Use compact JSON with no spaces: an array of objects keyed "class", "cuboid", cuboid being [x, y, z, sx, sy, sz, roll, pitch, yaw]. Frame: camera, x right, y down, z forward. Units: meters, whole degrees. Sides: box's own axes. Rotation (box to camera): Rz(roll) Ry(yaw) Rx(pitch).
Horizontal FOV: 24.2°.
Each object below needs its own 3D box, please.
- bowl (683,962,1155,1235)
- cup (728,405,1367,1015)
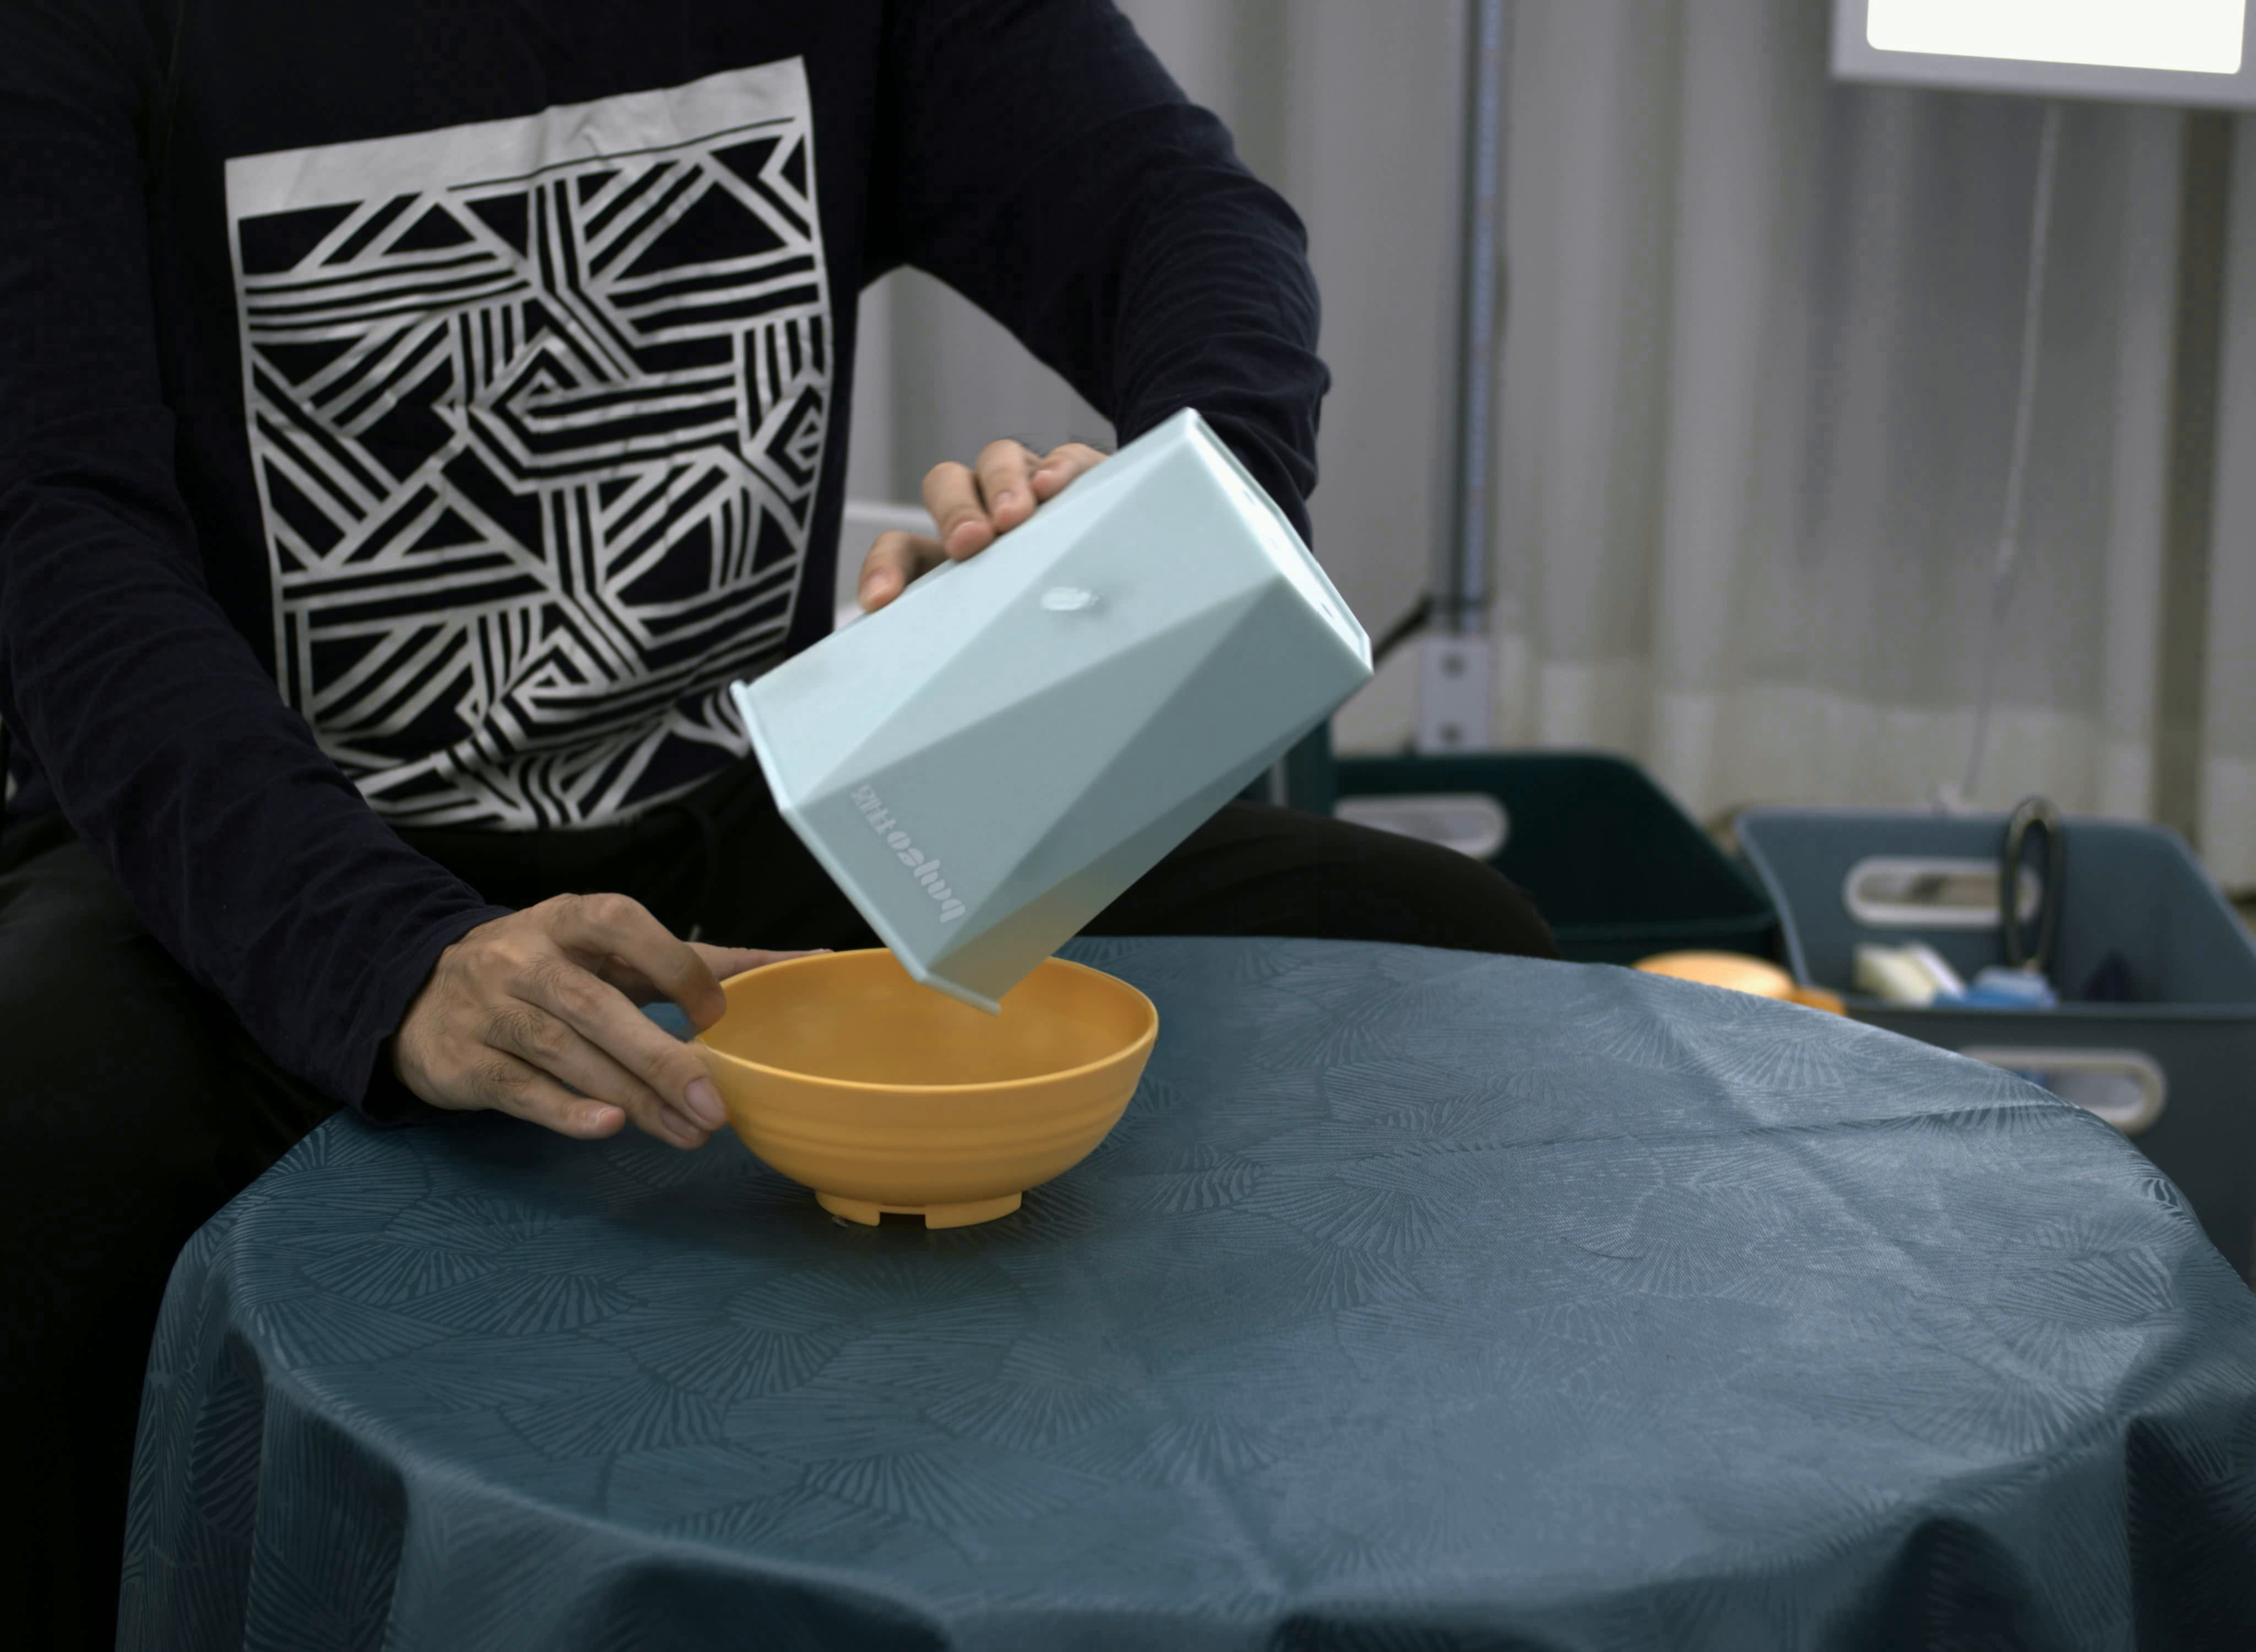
[{"class":"bowl","cuboid":[-0.064,0.088,1.613,0.145,0.060,0.144,1,13,0]},{"class":"cup","cuboid":[-0.019,-0.040,1.587,0.162,0.131,0.115,-37,8,10]}]
